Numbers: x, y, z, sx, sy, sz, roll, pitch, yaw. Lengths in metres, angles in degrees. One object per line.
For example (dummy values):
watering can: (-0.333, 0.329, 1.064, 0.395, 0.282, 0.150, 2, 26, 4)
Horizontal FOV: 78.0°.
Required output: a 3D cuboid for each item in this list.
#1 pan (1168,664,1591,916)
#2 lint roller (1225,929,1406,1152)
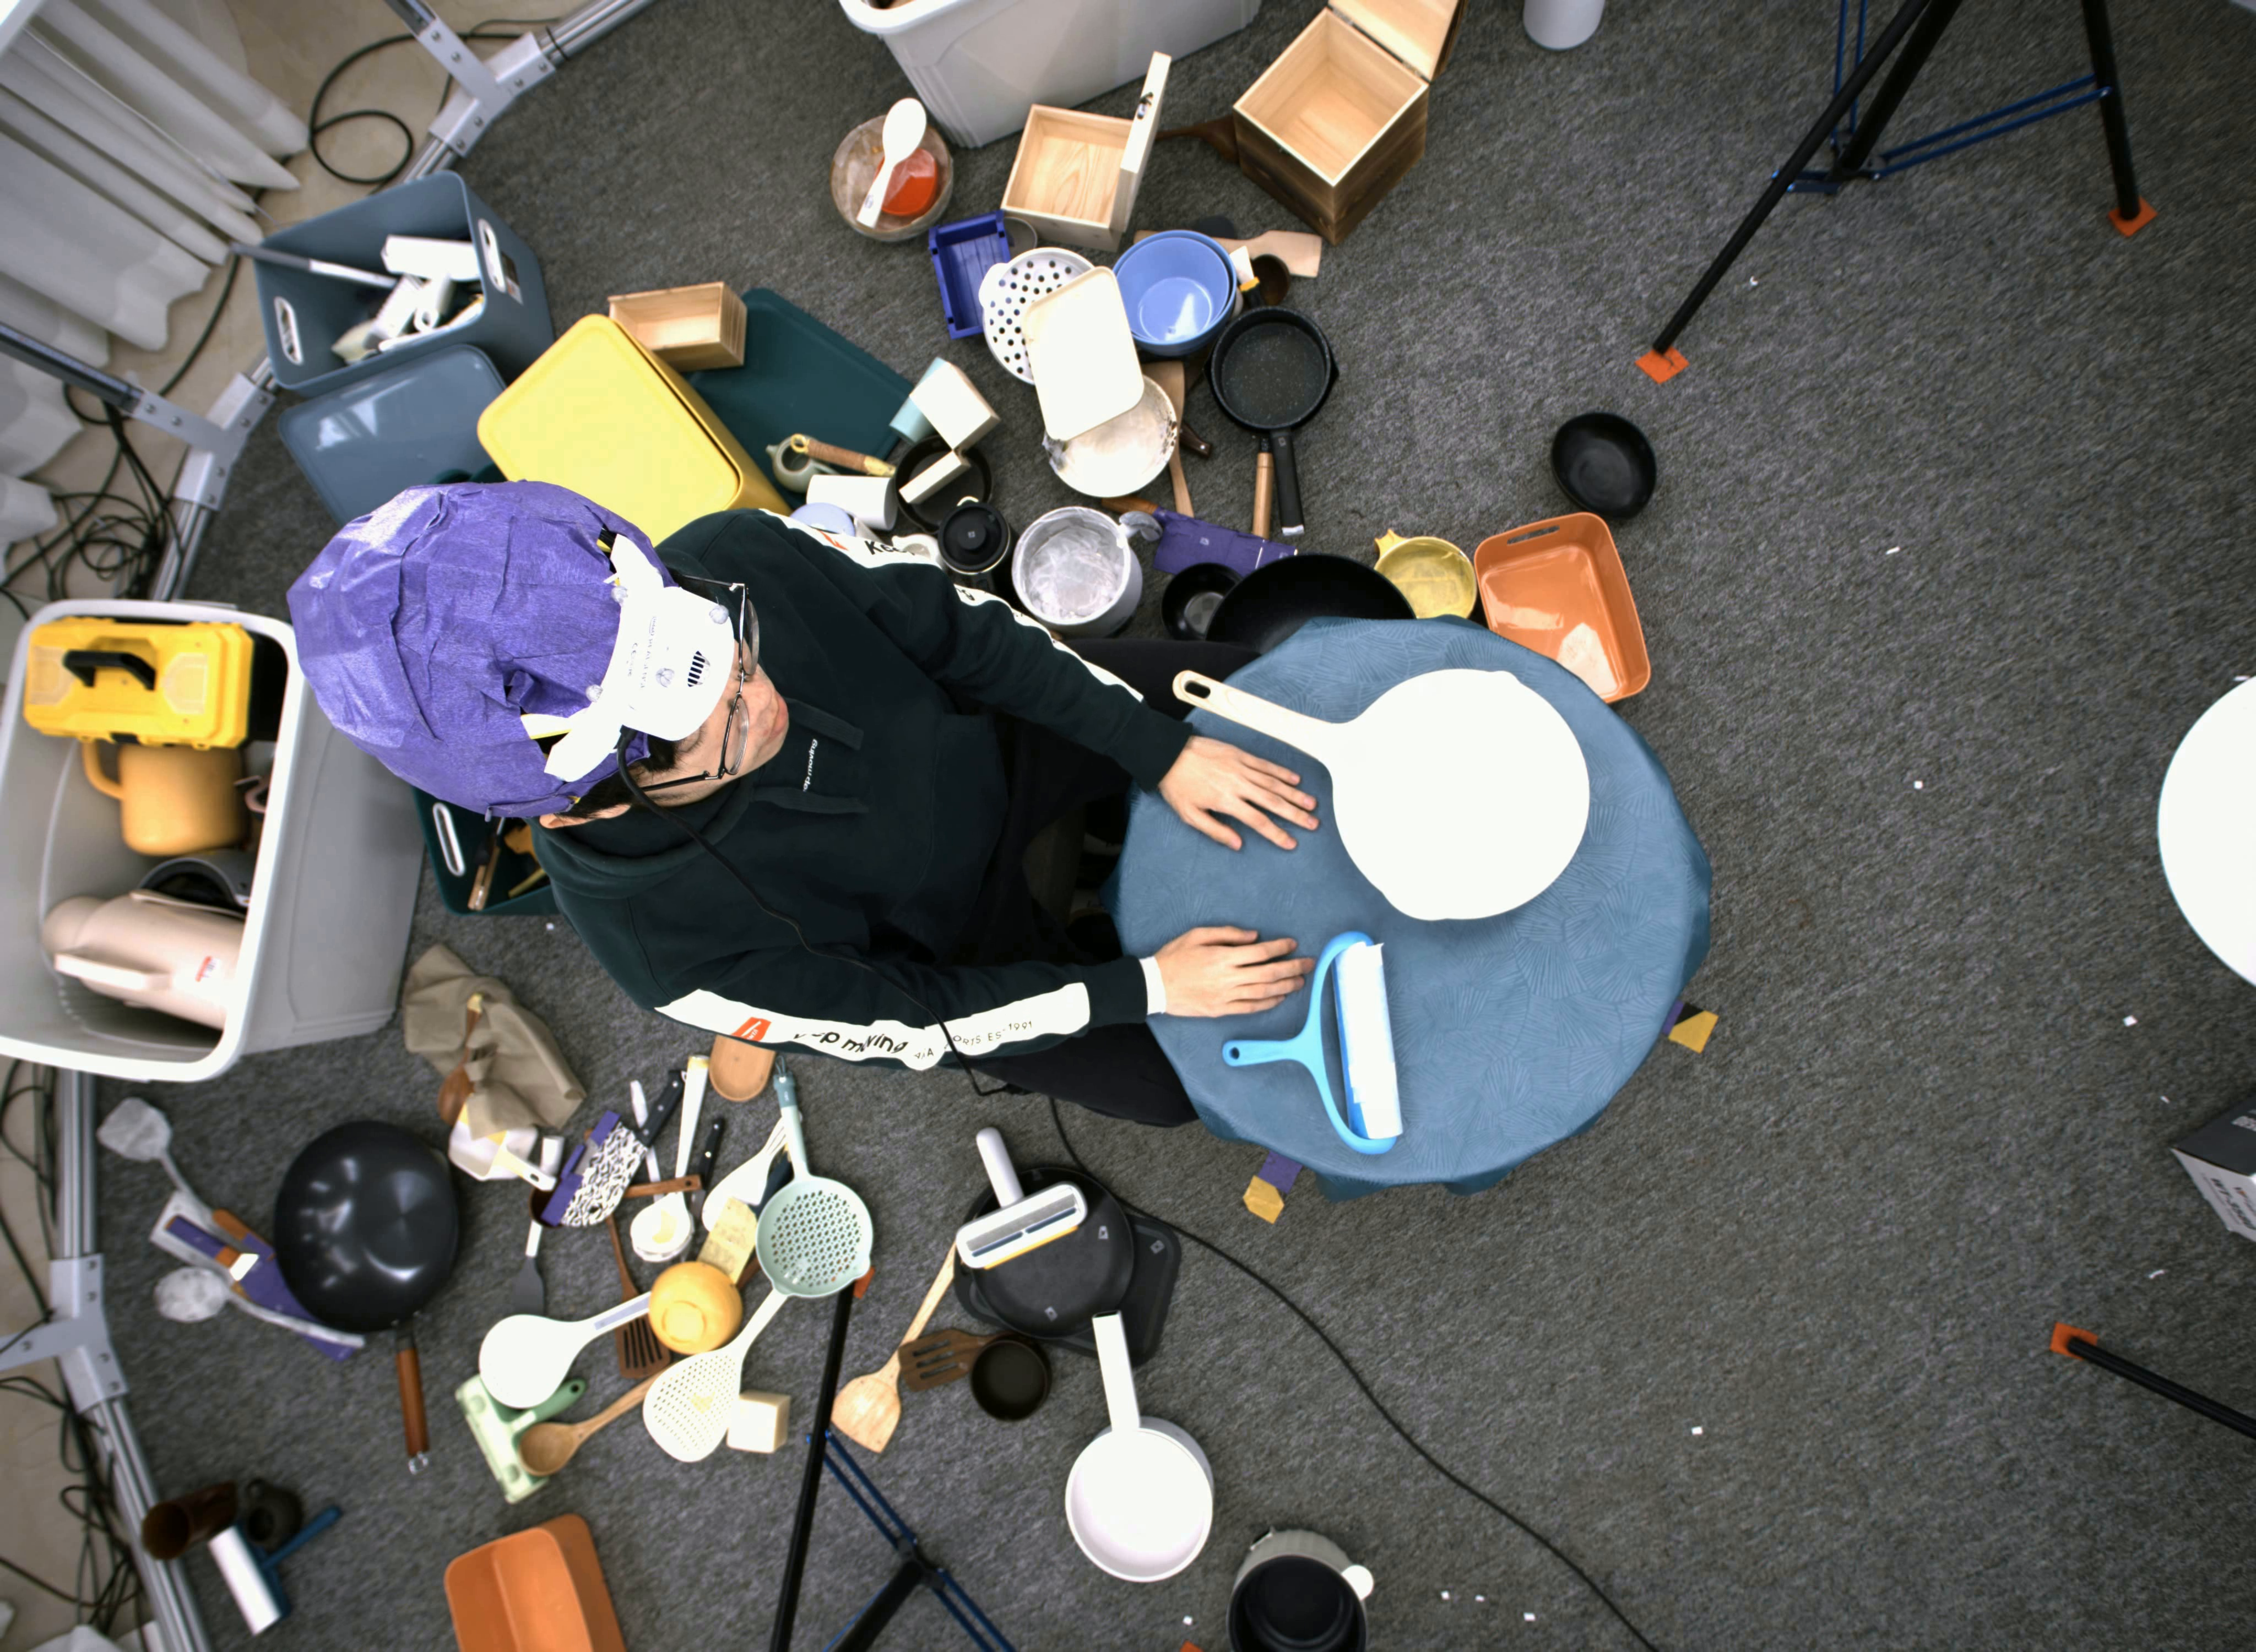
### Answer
pan: (0.252, -0.069, 1.415, 0.435, 0.102, 0.263, 21, 92, 11)
lint roller: (0.188, 0.228, 1.433, 0.181, 0.068, 0.228, -10, 87, 9)
